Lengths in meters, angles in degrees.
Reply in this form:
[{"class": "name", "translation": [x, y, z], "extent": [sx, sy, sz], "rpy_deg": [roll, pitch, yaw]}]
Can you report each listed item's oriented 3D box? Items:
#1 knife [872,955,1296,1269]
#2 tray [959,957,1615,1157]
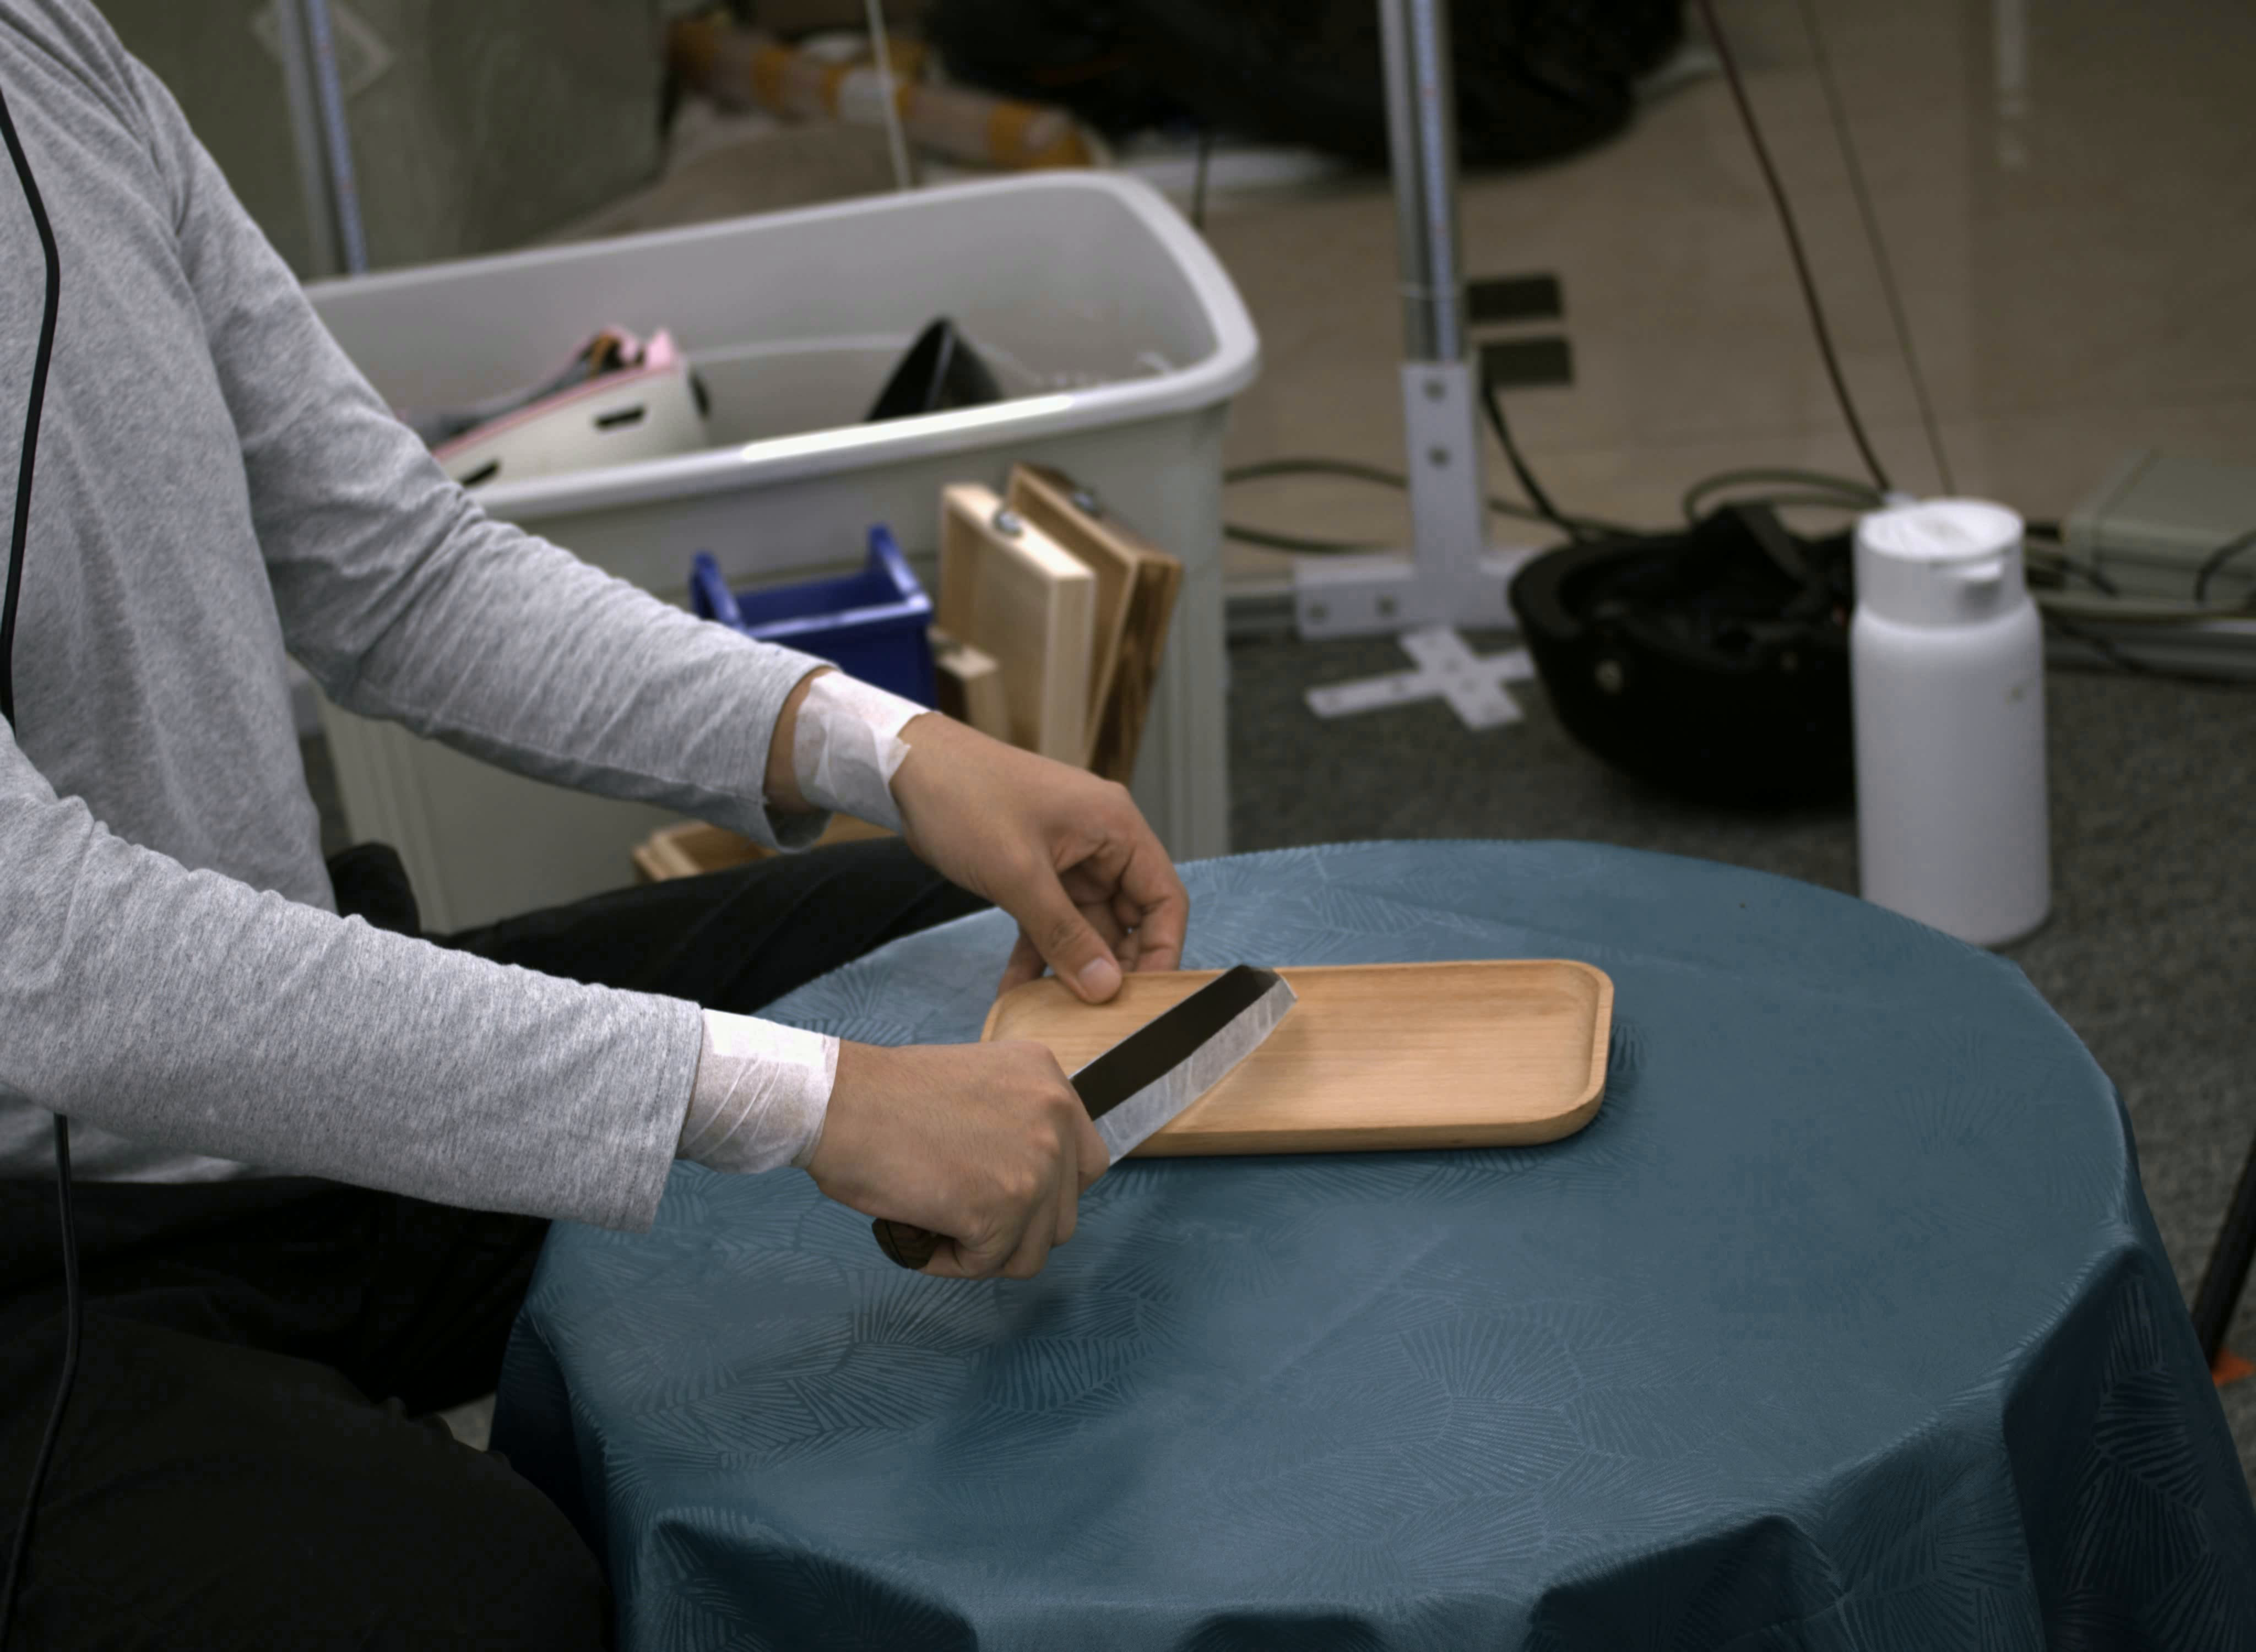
[{"class": "knife", "translation": [-0.010, 0.105, 2.128], "extent": [0.020, 0.051, 0.286], "rpy_deg": [9, 22, 31]}, {"class": "tray", "translation": [0.063, 0.091, 2.214], "extent": [0.250, 0.023, 0.128], "rpy_deg": [-2, 26, 11]}]
